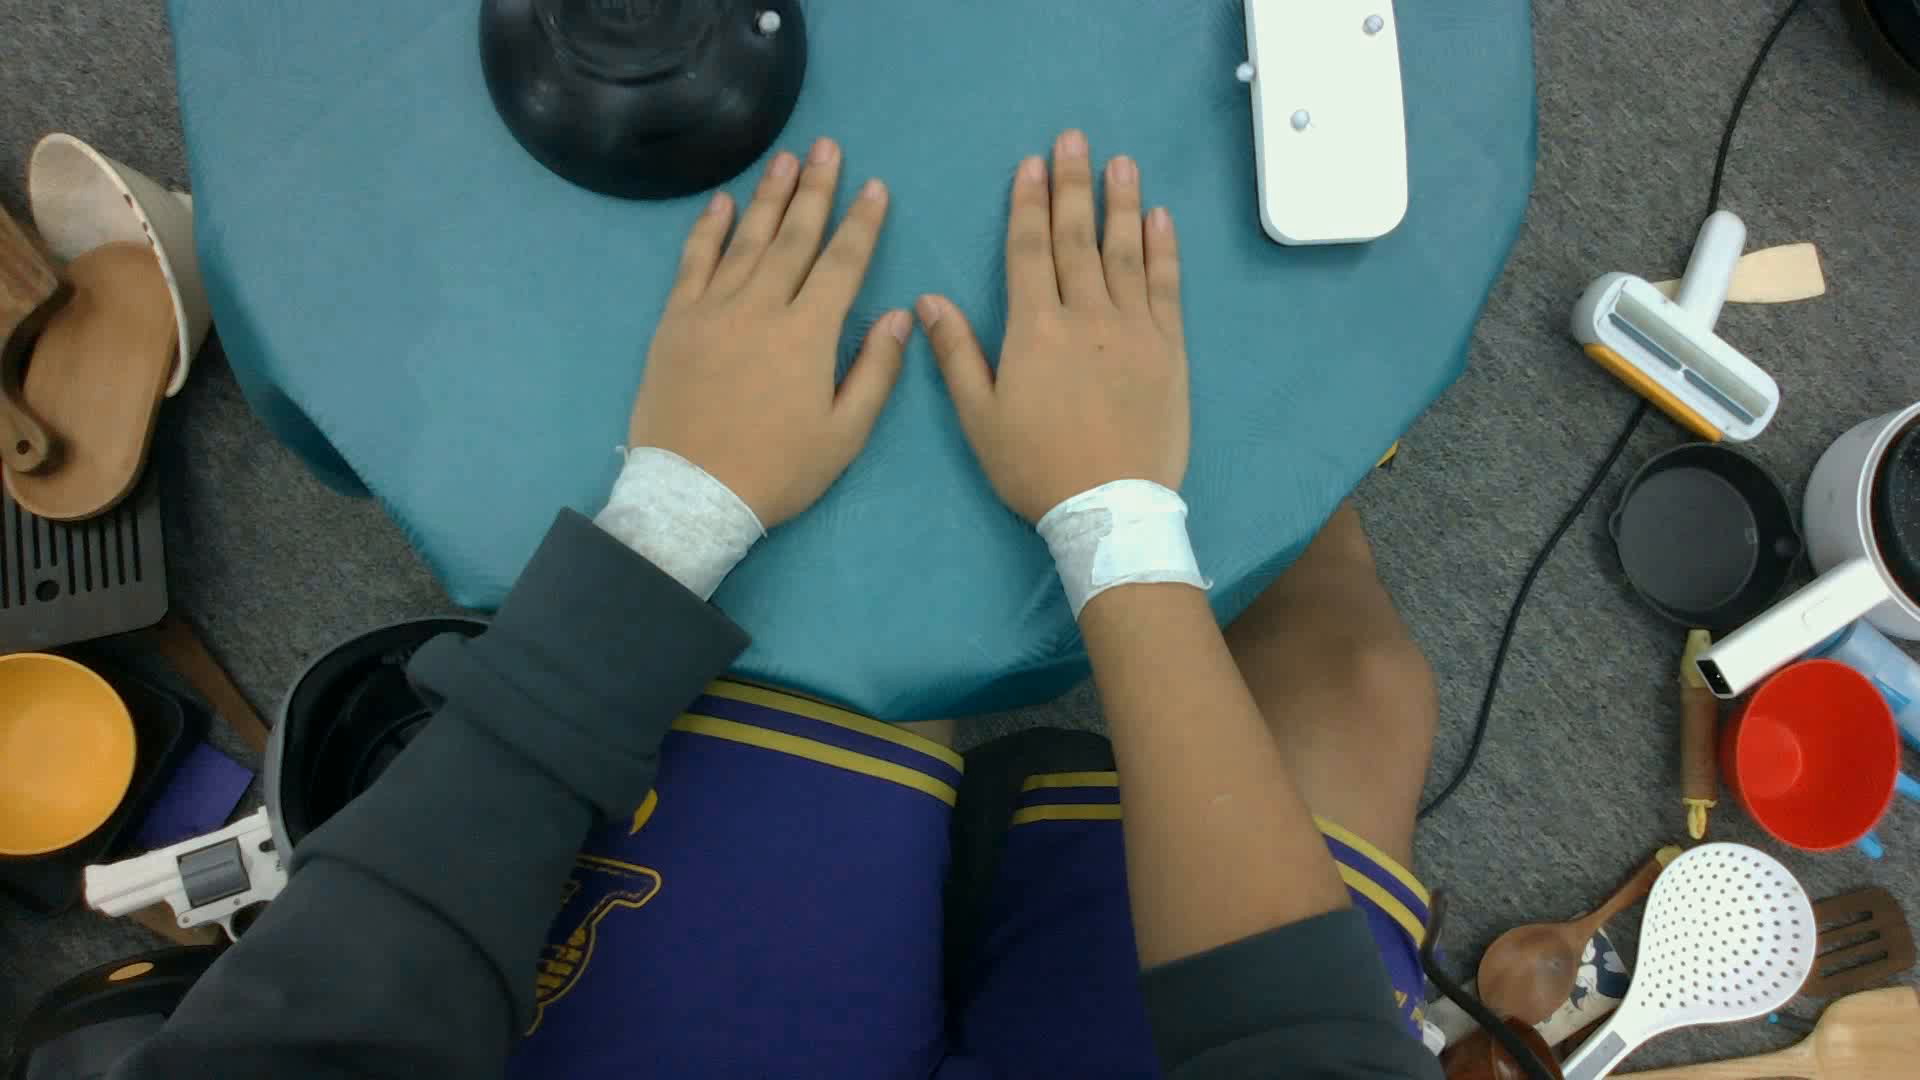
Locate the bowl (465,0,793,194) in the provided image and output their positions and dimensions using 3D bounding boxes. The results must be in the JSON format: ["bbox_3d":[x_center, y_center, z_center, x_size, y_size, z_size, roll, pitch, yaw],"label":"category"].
[{"bbox_3d":[-0.140,-0.219,0.575,0.140,0.049,0.140,1,83,-6],"label":"bowl"}]

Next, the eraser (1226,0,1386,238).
[{"bbox_3d":[0.149,-0.198,0.607,0.063,0.034,0.131,-2,82,-4],"label":"eraser"}]
